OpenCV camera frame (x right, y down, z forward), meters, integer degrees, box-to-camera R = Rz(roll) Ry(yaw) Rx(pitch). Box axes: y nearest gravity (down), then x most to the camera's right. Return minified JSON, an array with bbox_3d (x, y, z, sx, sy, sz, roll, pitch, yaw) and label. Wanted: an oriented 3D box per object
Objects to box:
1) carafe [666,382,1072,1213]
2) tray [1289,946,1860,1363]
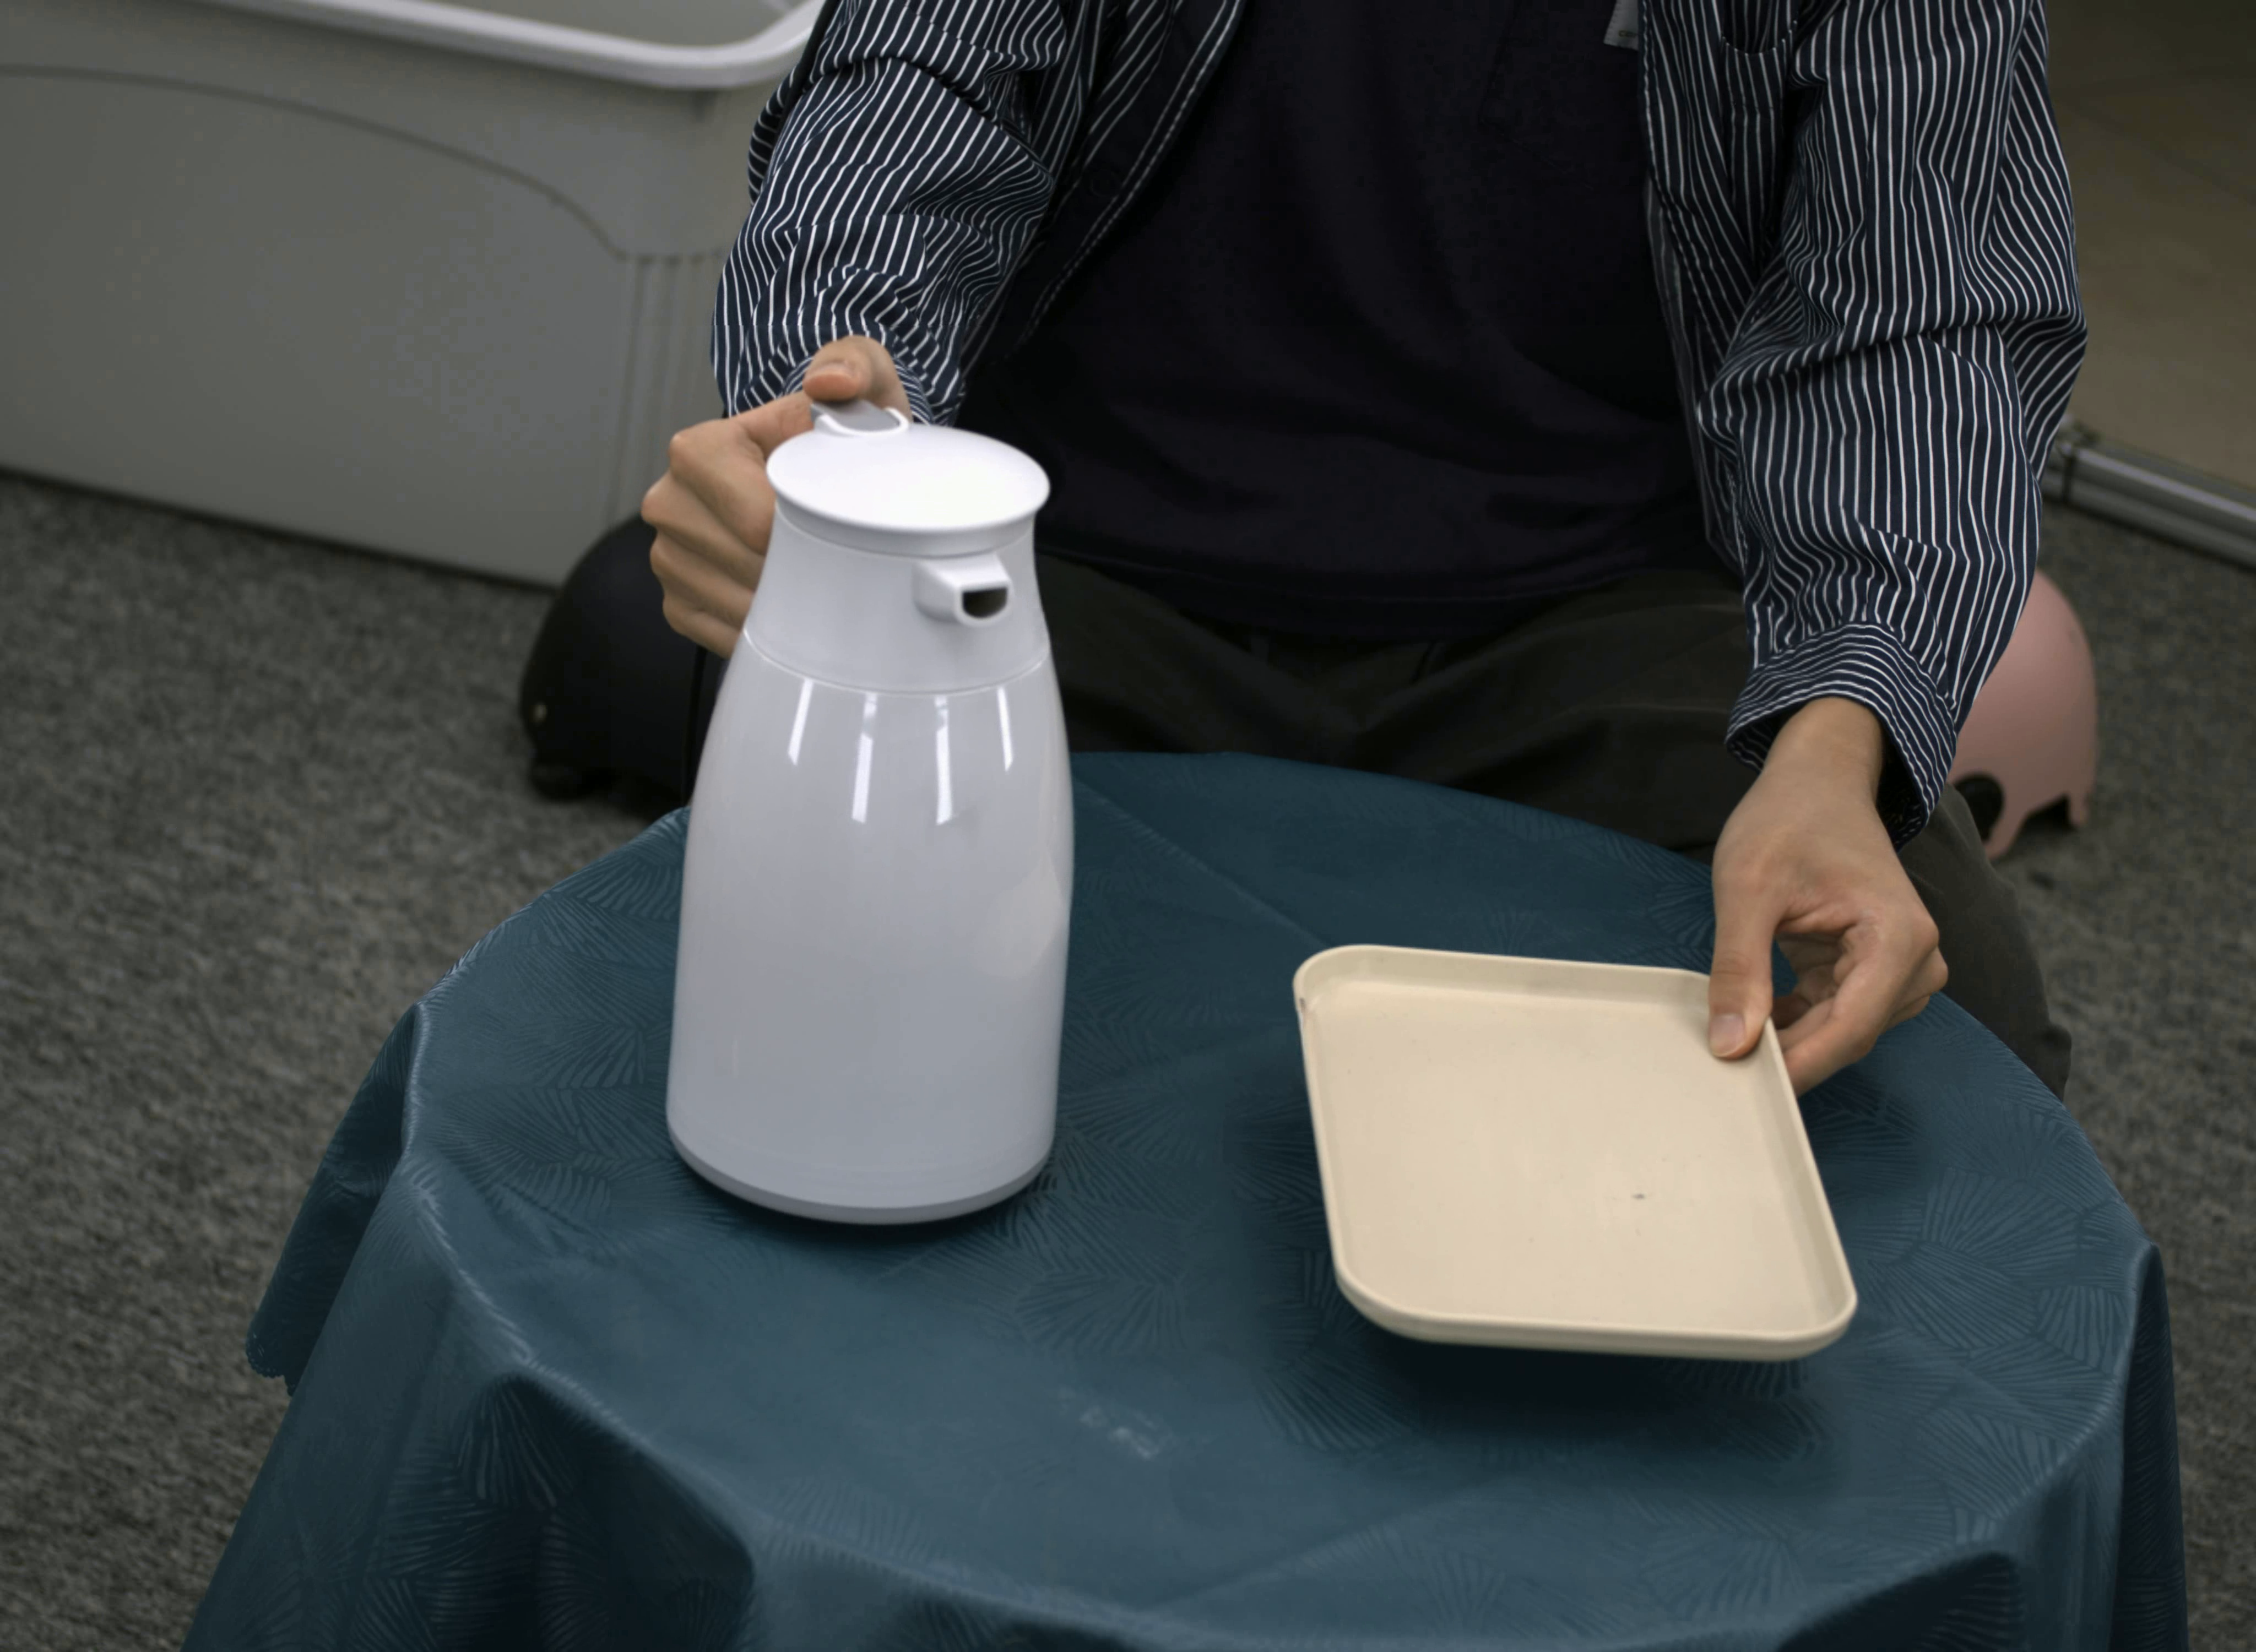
[{"bbox_3d":[-0.092,-0.019,1.767,0.131,0.248,0.169,-10,27,-30],"label":"carafe"},{"bbox_3d":[0.144,0.108,1.773,0.170,0.017,0.241,5,27,-5],"label":"tray"}]
